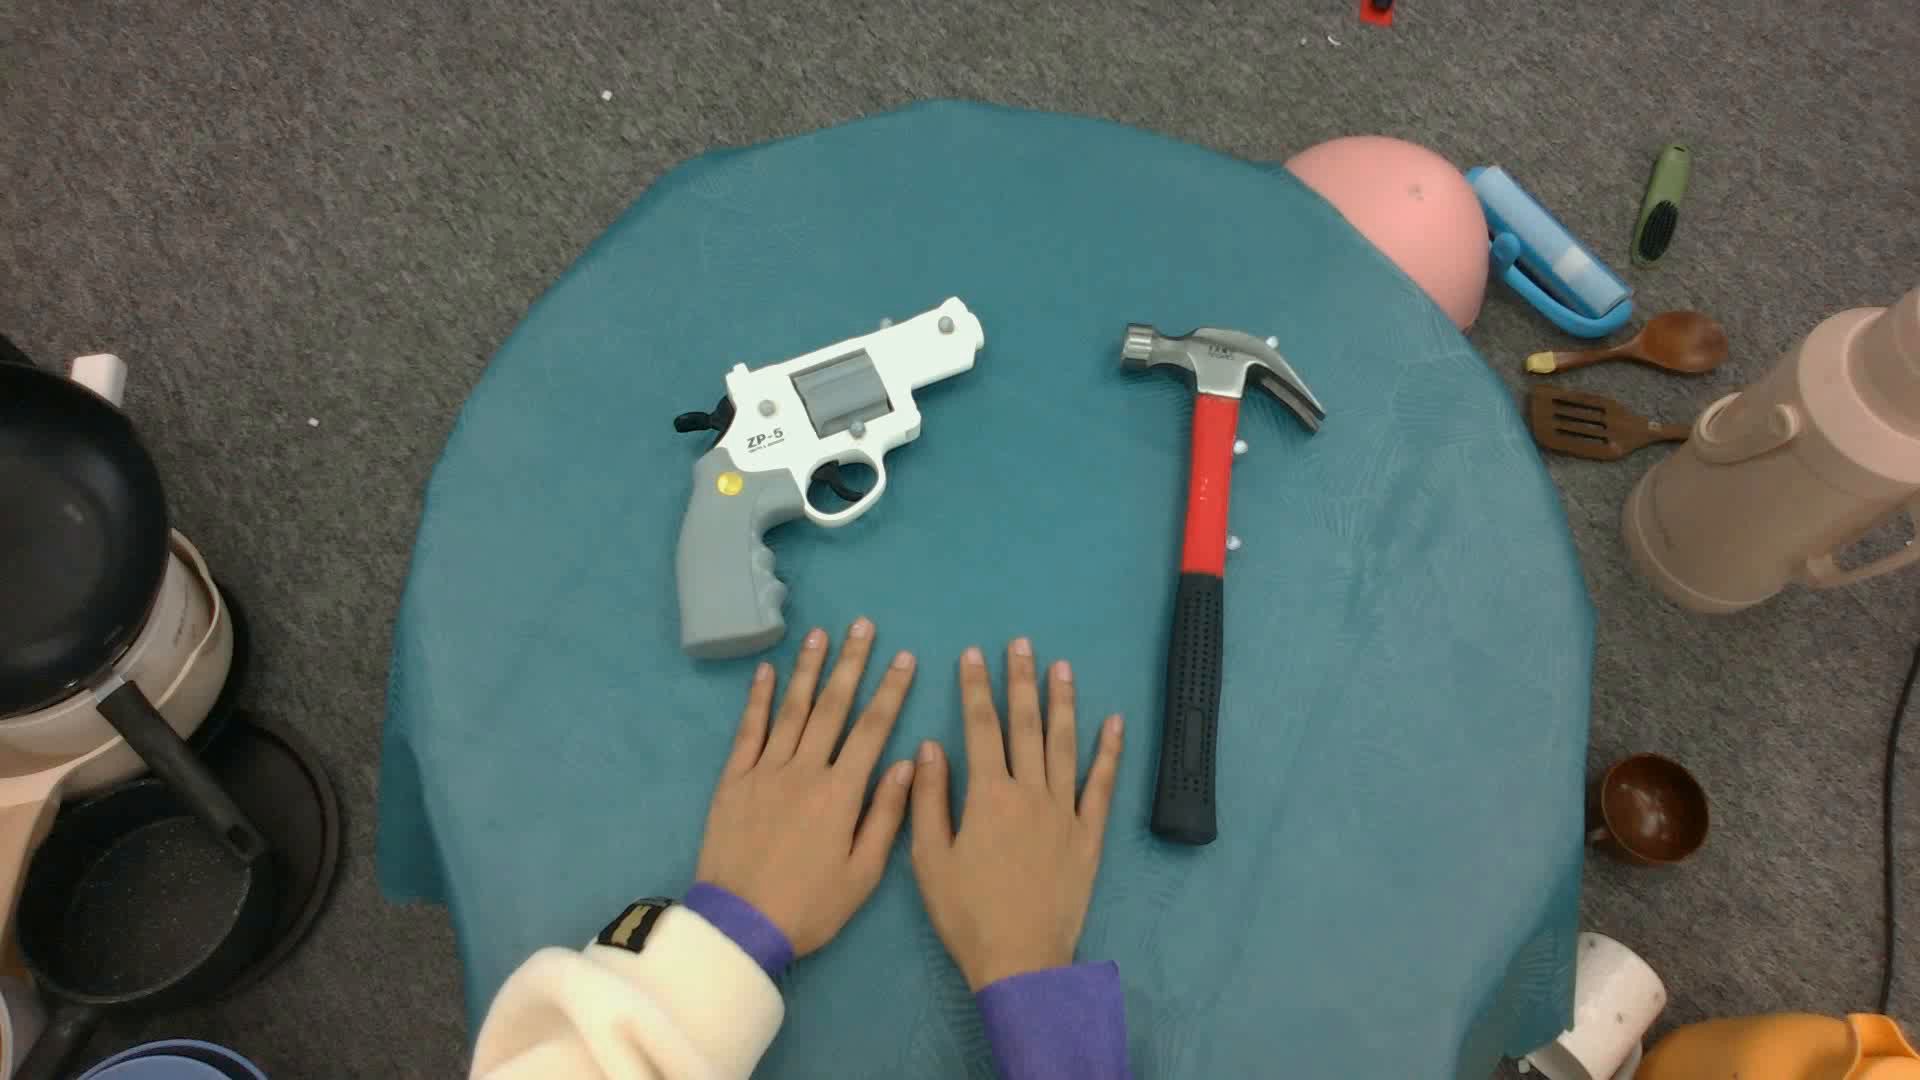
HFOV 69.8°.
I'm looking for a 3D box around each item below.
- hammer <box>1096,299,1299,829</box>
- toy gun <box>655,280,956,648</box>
[{"bbox_3d":[0.113,0.007,0.698,0.111,0.026,0.278,12,67,-9],"label":"hammer"},{"bbox_3d":[-0.076,-0.044,0.698,0.209,0.038,0.142,-25,70,-14],"label":"toy gun"}]
